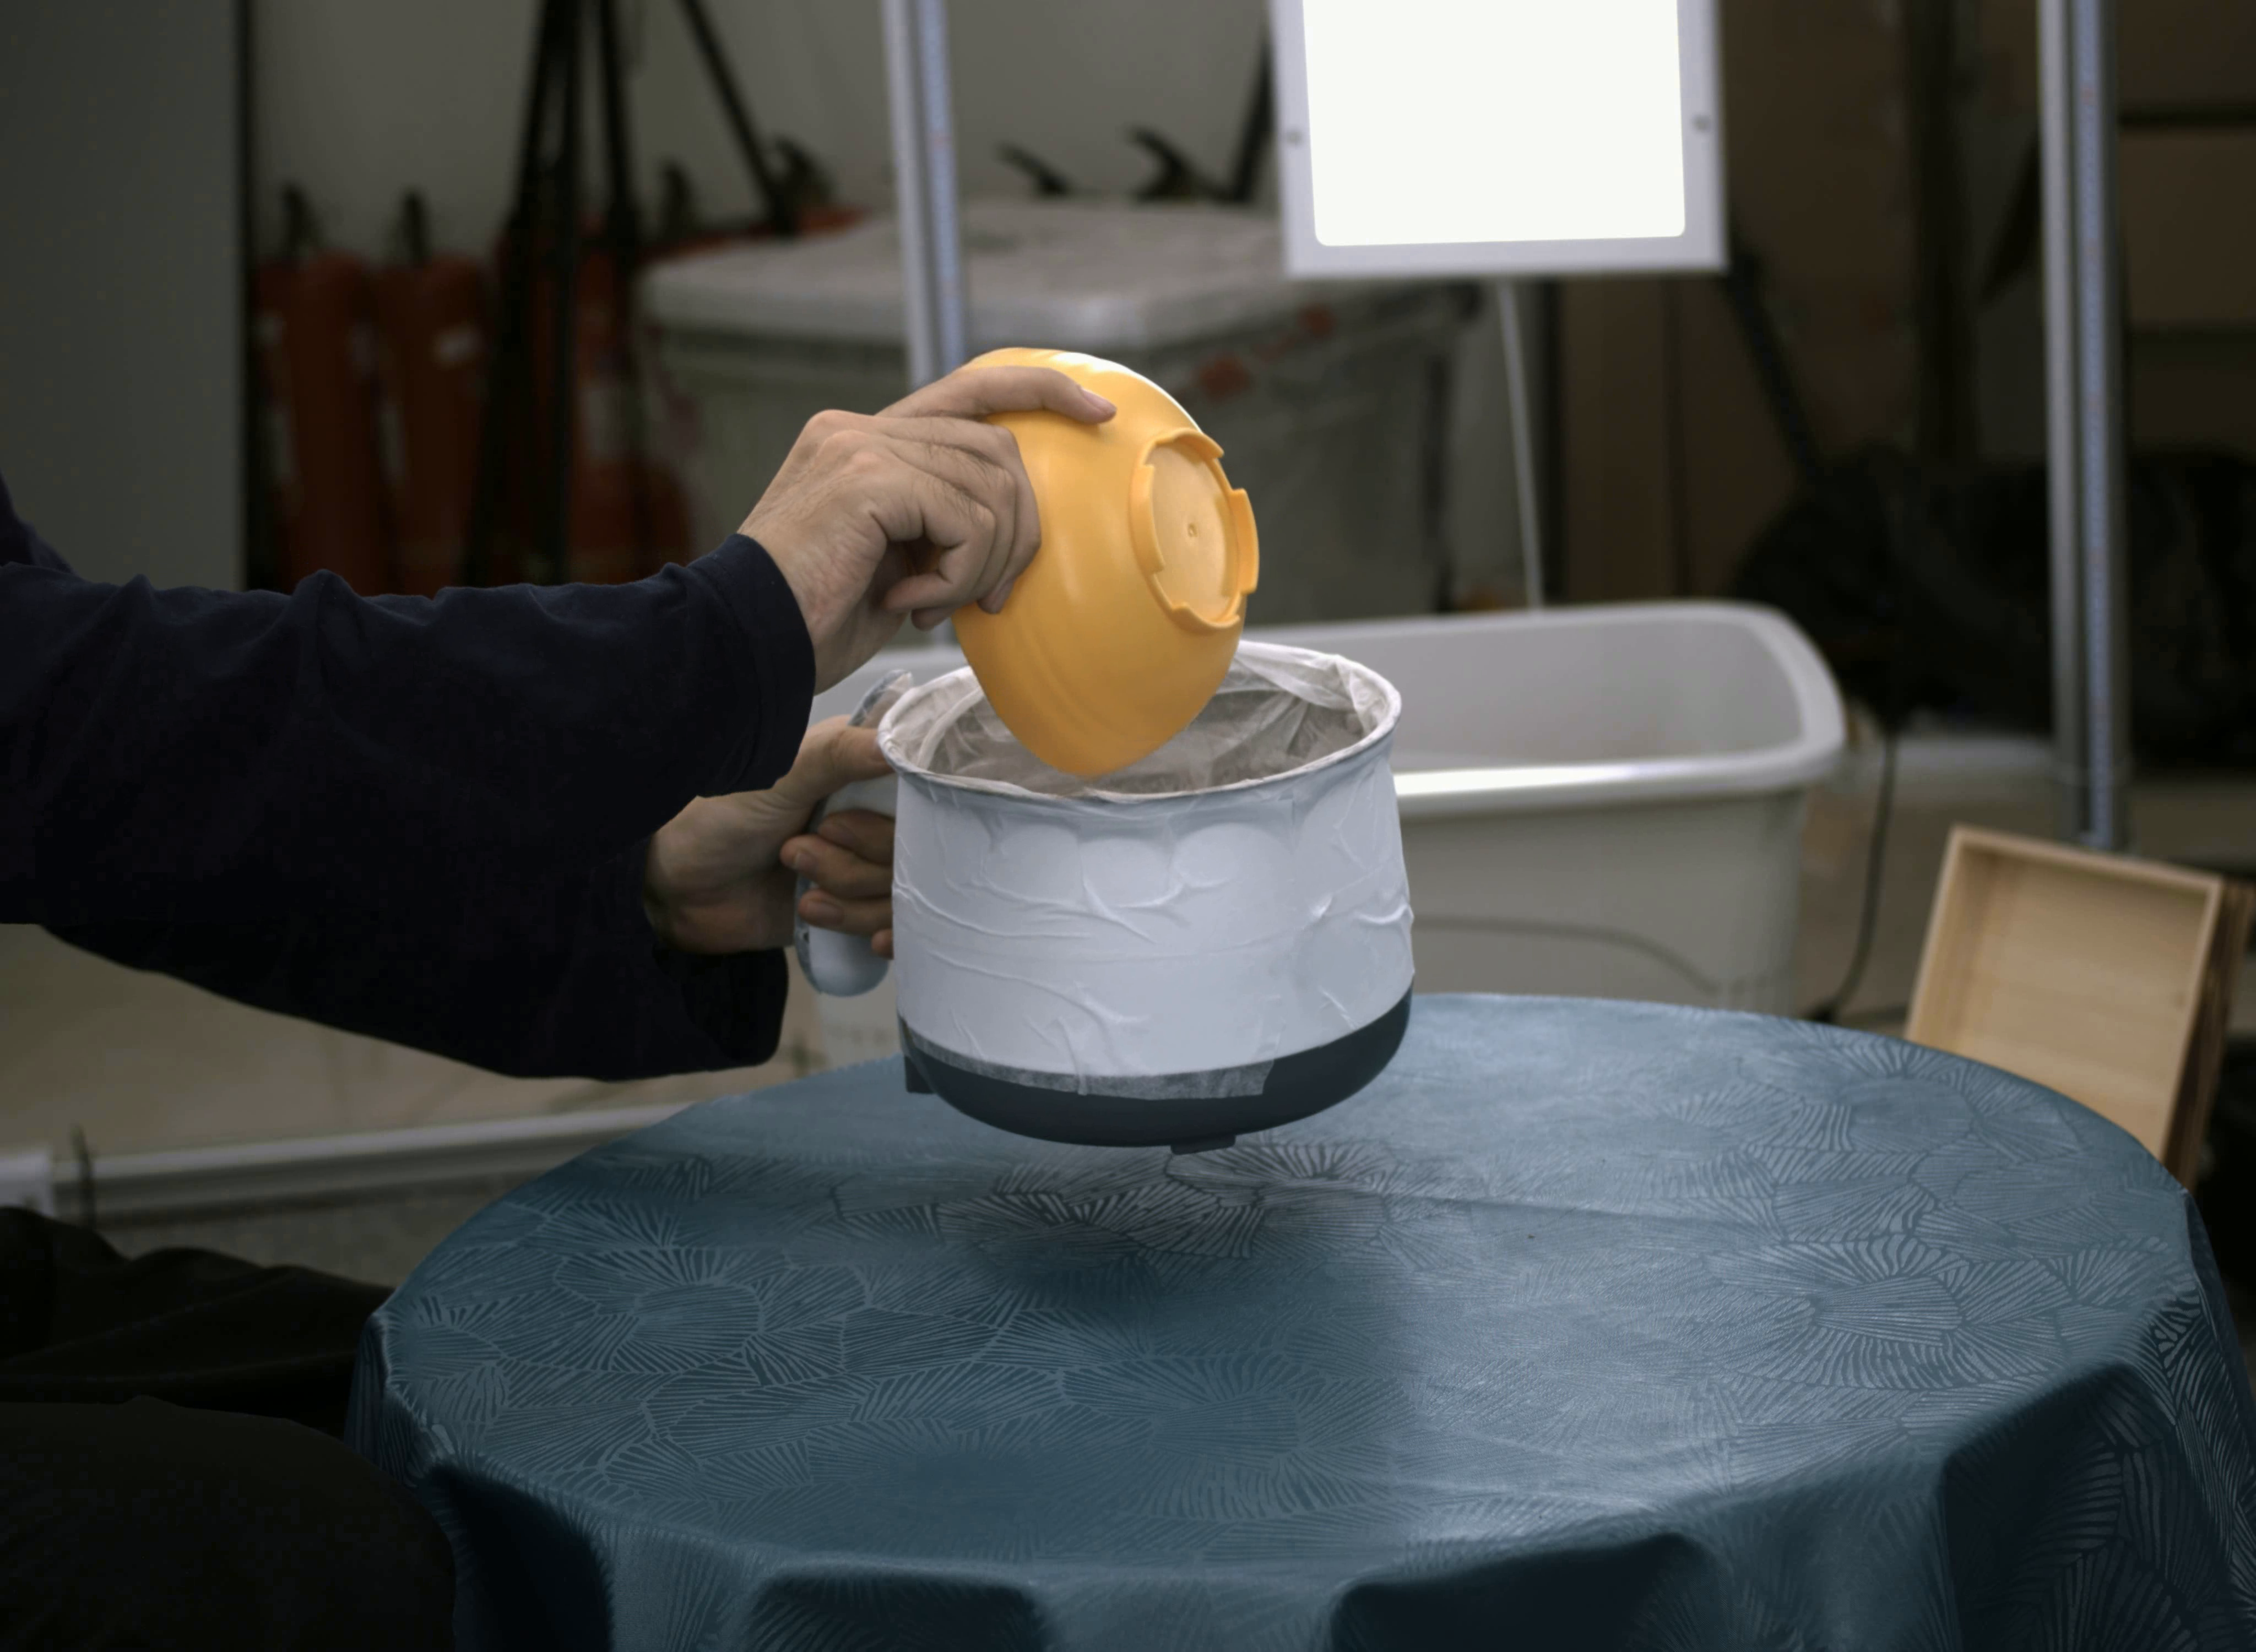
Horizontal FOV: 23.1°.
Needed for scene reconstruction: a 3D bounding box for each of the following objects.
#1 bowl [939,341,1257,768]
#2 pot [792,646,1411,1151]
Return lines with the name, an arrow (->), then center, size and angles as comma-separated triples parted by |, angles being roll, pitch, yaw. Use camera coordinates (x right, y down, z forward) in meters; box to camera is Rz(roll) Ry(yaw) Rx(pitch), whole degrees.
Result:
bowl -> 0.001, -0.093, 1.796 | 0.061, 0.145, 0.142 | -12, 8, 31
pot -> -0.016, 0.019, 1.879 | 0.238, 0.137, 0.174 | 9, 20, 32
